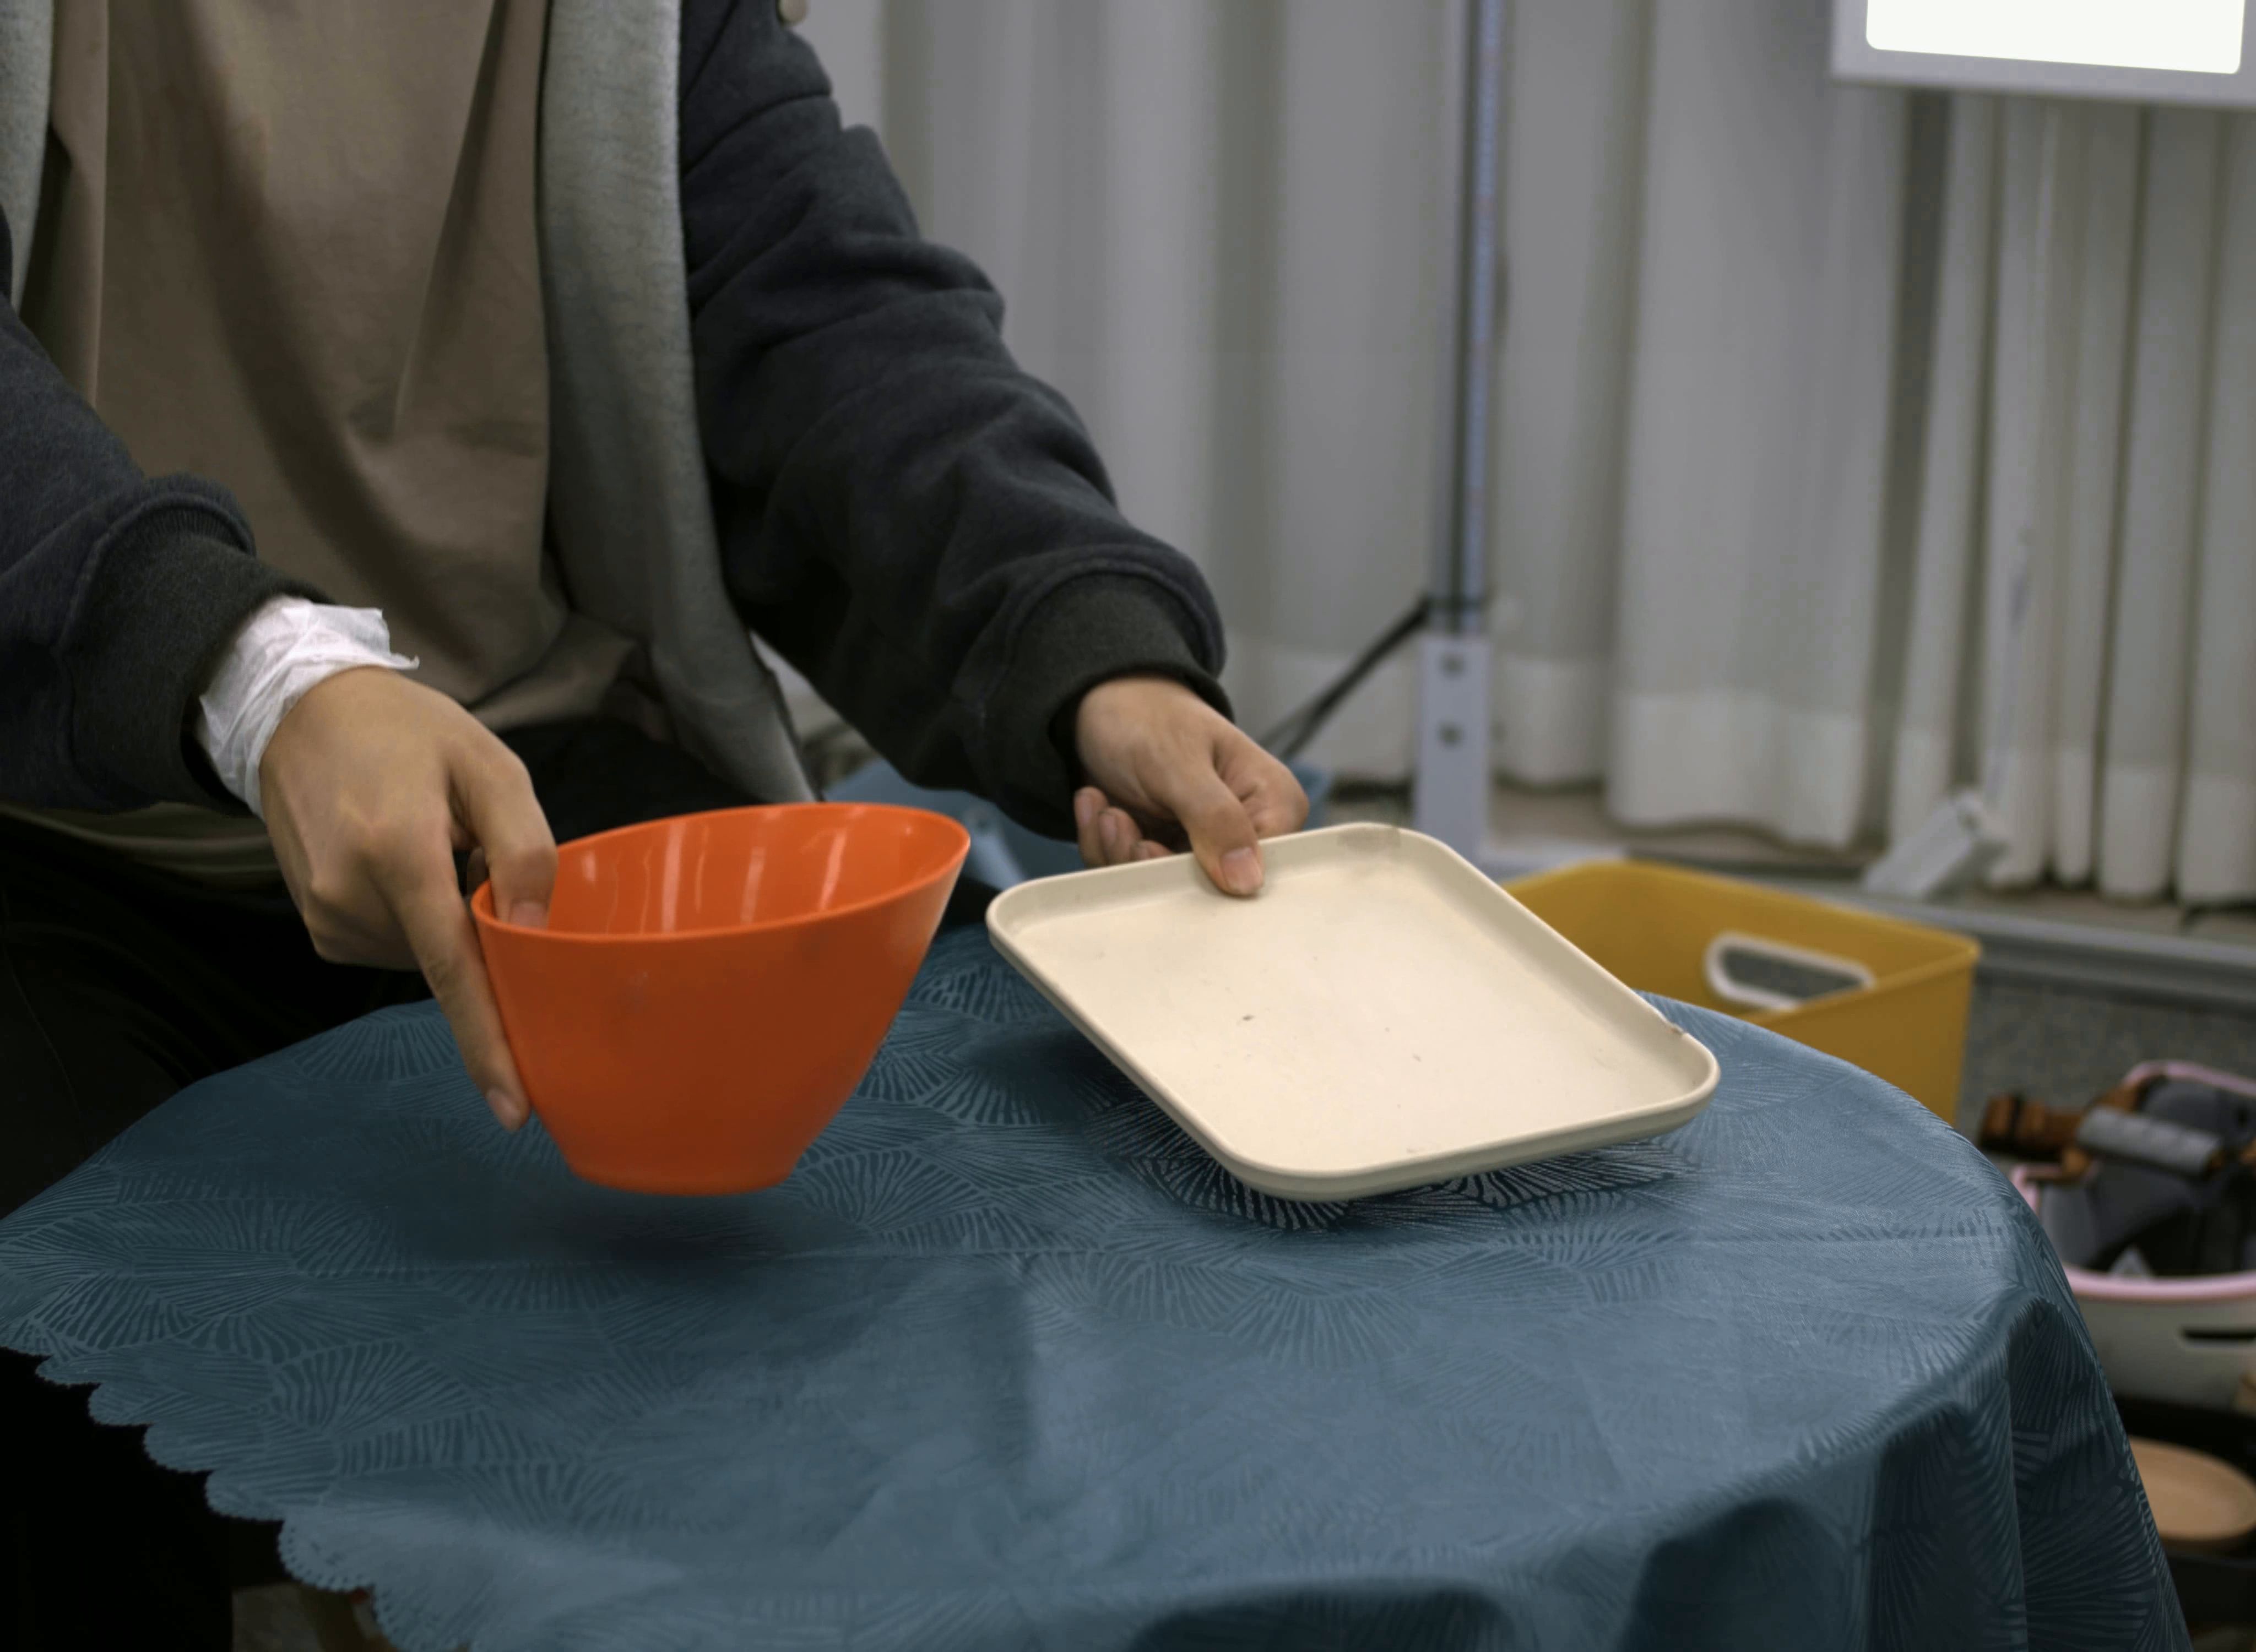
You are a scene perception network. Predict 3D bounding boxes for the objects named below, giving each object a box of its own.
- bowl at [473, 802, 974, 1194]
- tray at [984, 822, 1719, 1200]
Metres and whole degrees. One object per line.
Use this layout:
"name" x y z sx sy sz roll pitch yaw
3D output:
"bowl" -0.121 0.051 1.565 0.147 0.105 0.147 3 10 0
"tray" 0.068 0.058 1.697 0.172 0.017 0.236 -10 25 -23
